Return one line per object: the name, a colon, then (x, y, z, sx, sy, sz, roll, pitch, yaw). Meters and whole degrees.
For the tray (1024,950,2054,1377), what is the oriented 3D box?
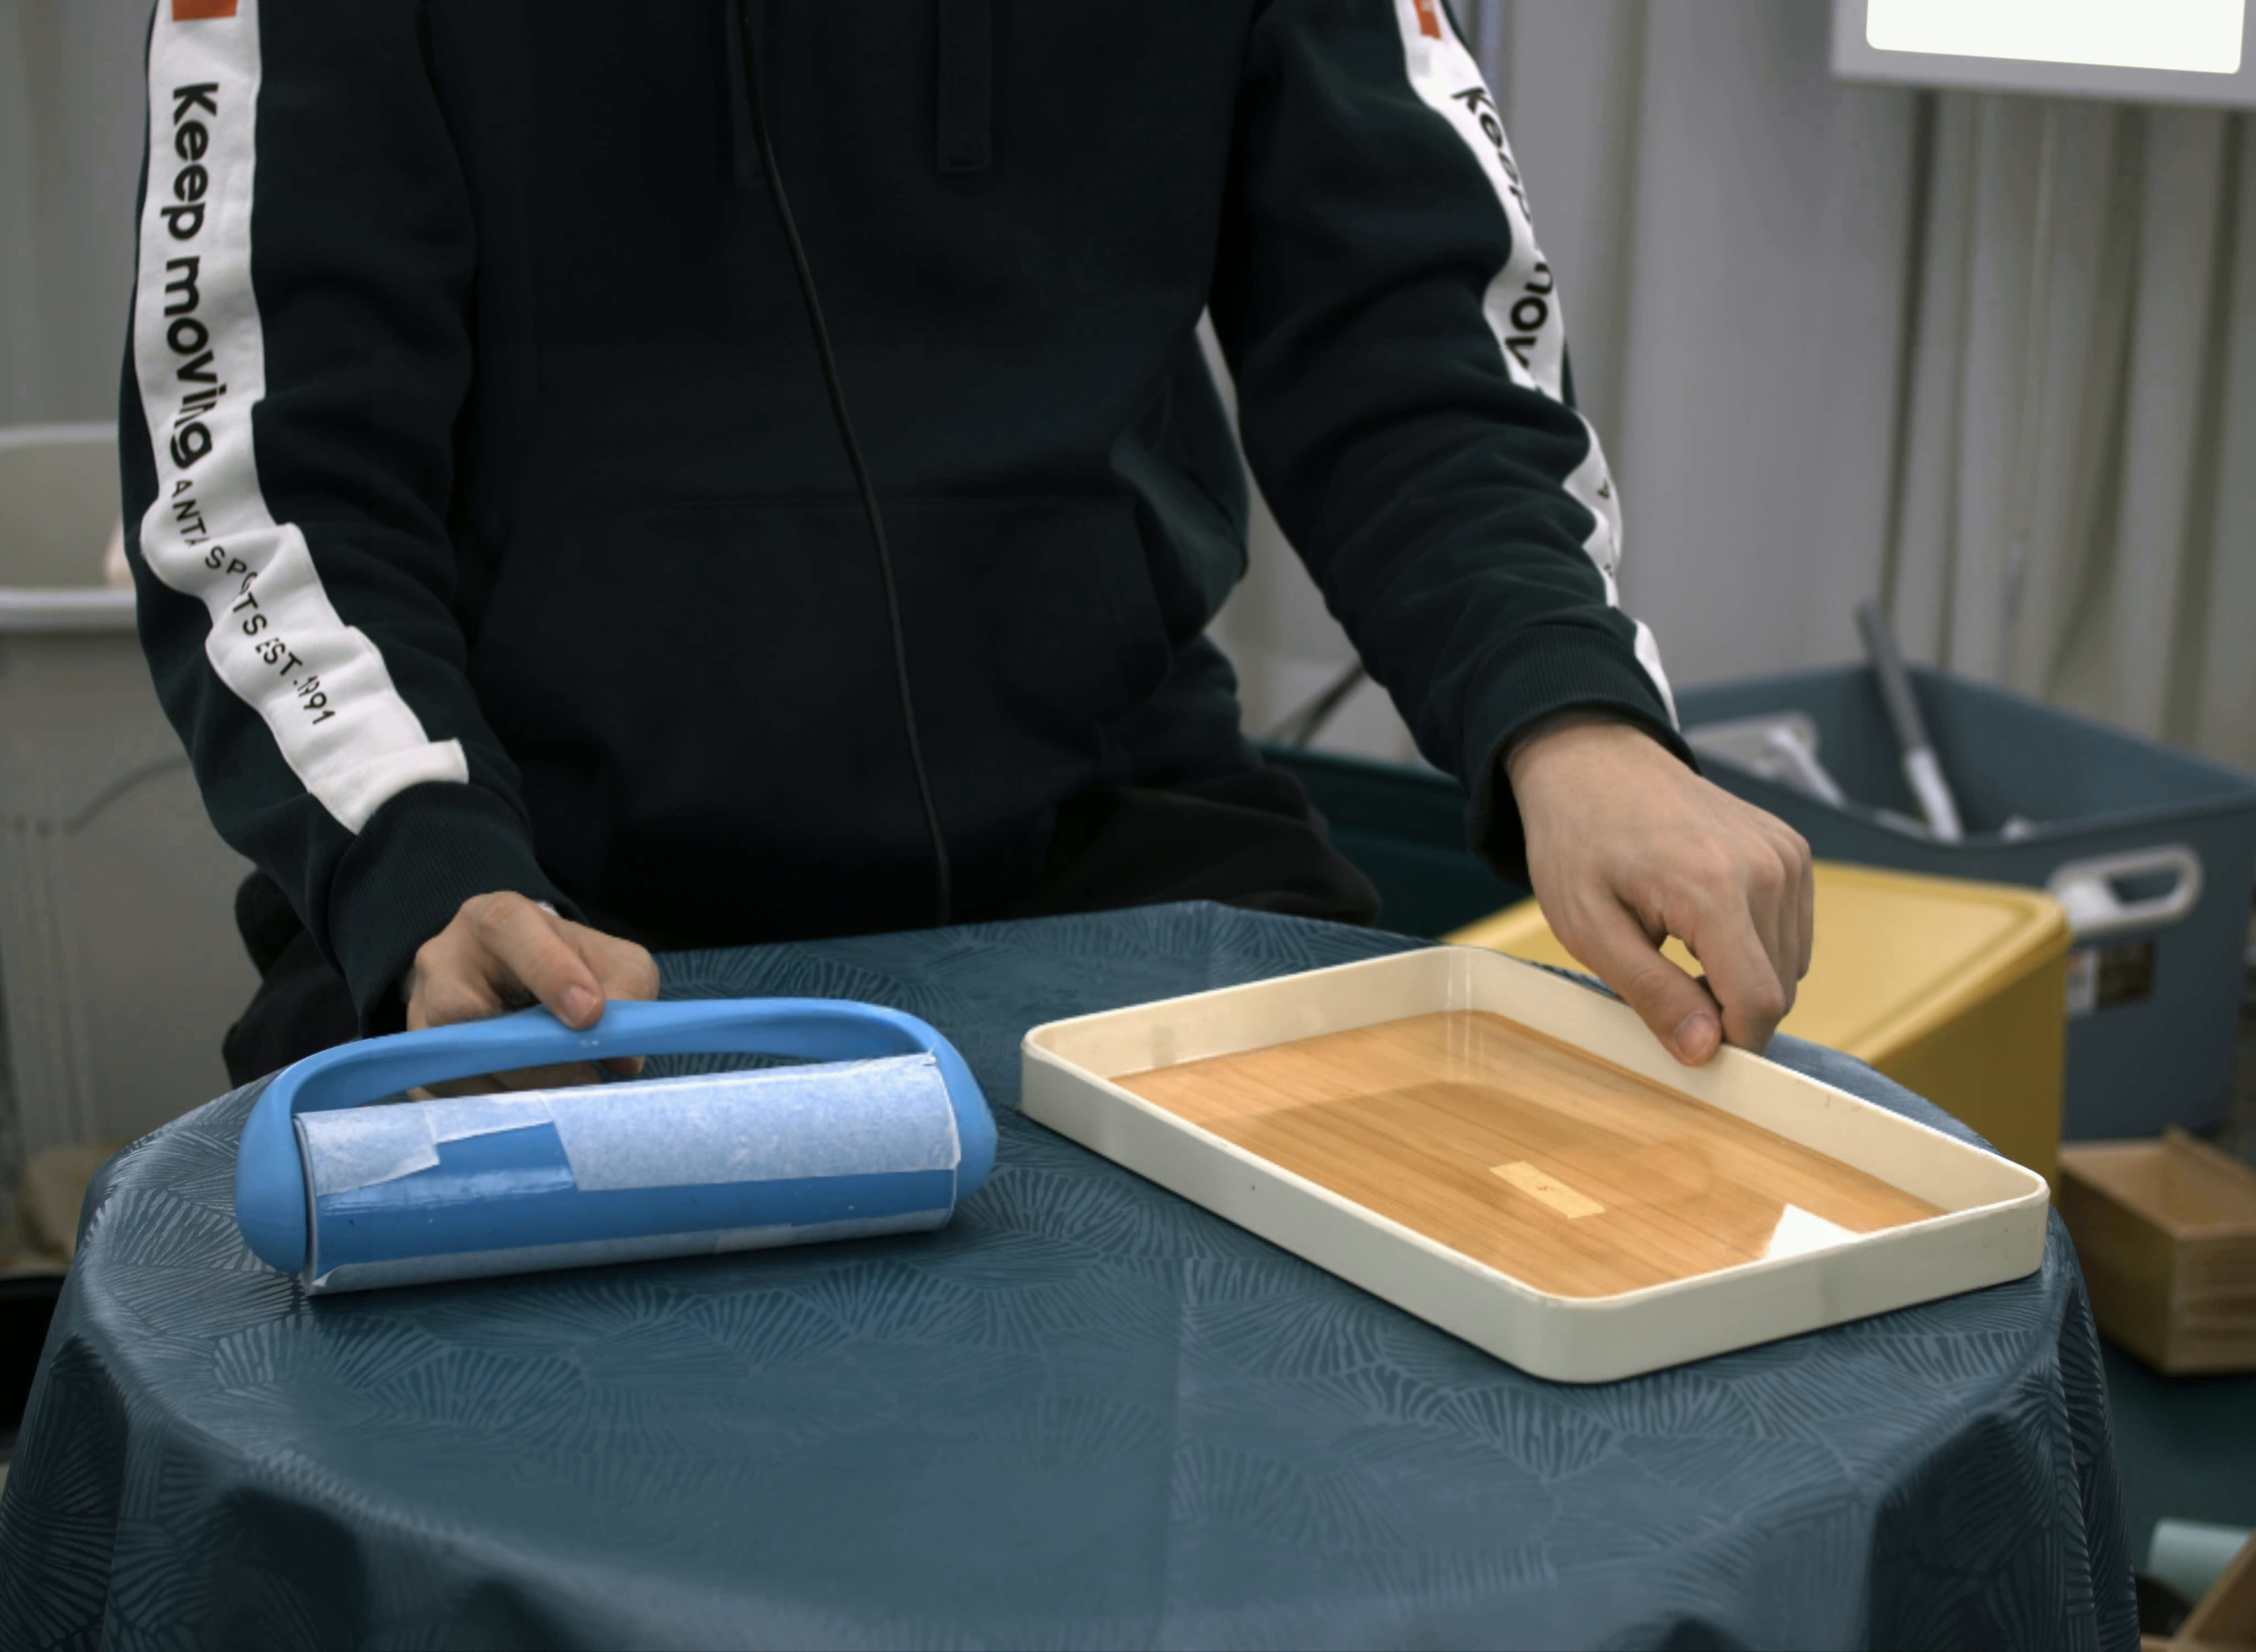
tray: (0.120, 0.099, 1.623, 0.192, 0.027, 0.296, -9, 18, -32)

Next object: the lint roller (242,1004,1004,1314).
lint roller: (-0.168, 0.088, 1.601, 0.229, 0.068, 0.178, -8, 19, -21)
